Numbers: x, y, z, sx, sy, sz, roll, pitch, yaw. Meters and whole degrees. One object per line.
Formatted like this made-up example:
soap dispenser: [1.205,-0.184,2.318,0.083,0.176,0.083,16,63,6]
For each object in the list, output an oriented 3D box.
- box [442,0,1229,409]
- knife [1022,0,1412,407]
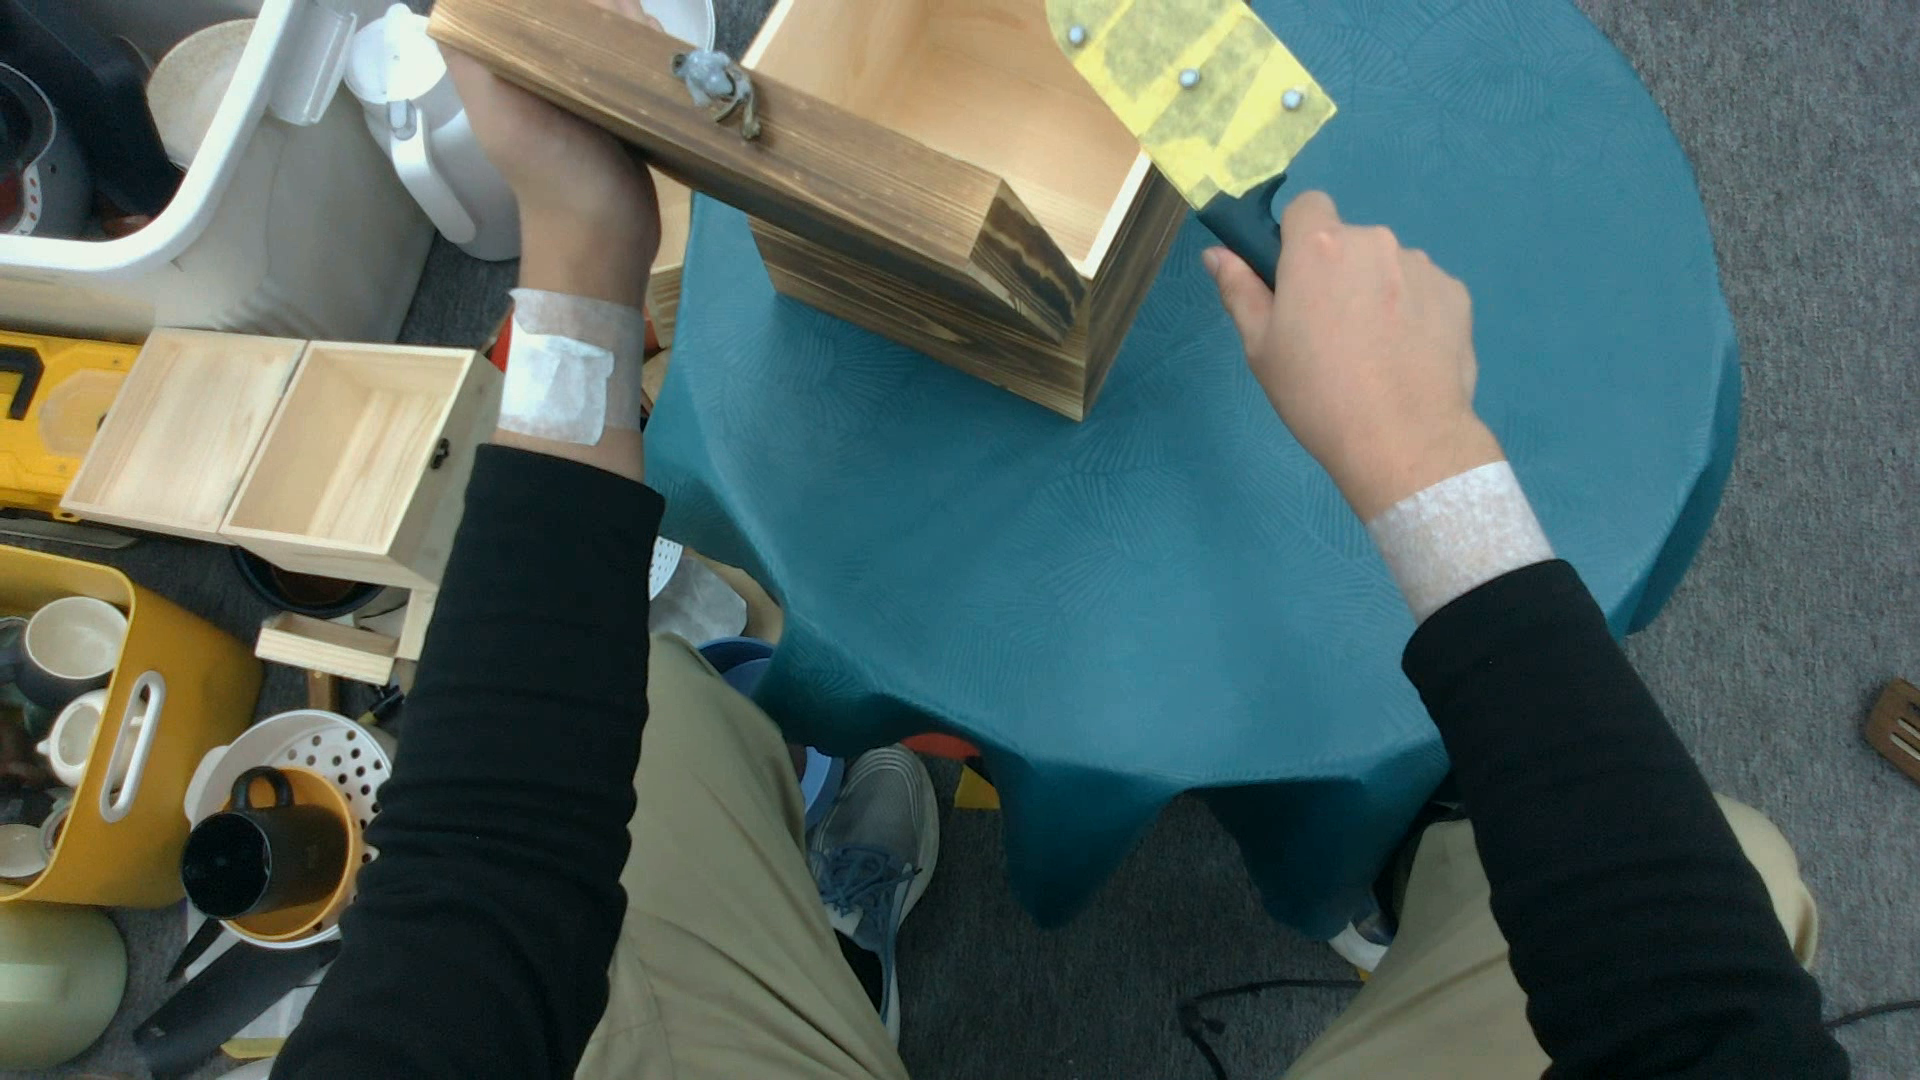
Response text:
box: [-0.015,-0.206,0.639,0.209,0.374,0.323,24,76,9]
knife: [0.116,-0.183,0.619,0.080,0.027,0.290,-41,77,31]
